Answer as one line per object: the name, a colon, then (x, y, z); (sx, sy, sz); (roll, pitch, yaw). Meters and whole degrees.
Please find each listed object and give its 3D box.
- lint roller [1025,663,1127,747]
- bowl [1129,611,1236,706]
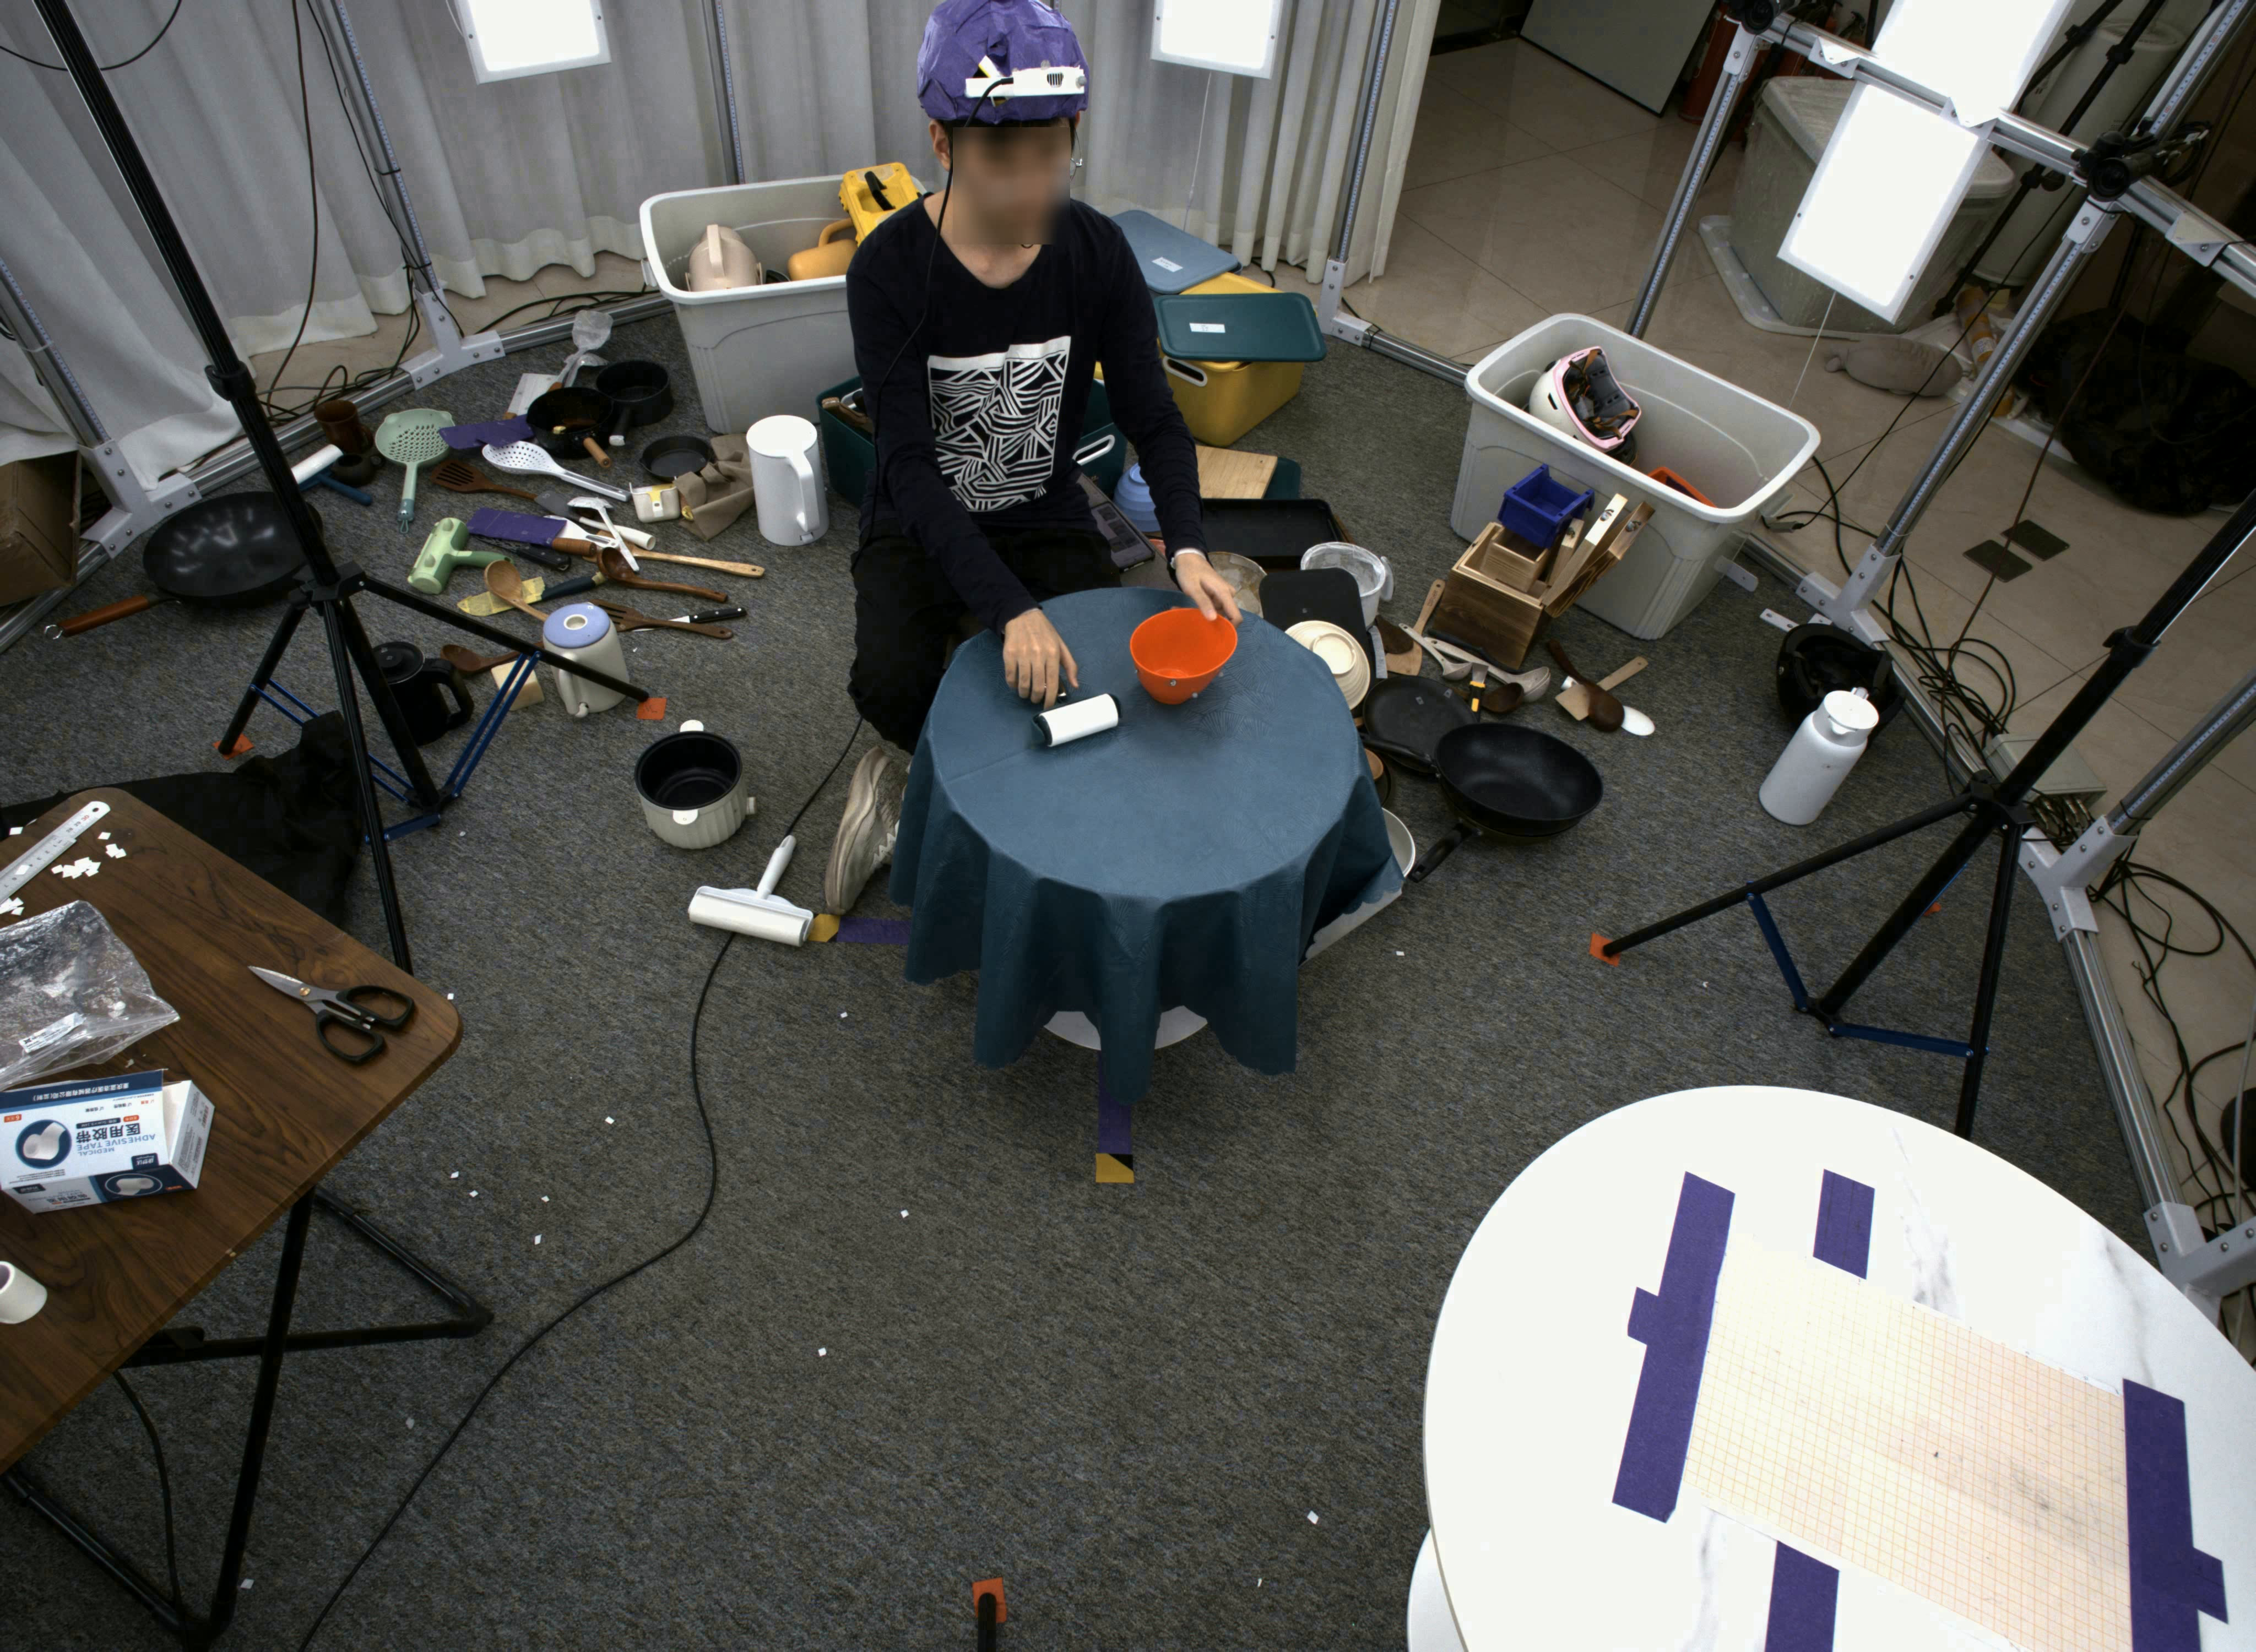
lint roller: (-0.099, -0.190, 1.800); (0.134, 0.047, 0.184); (-19, 50, -19)
bowl: (0.073, -0.227, 1.809); (0.148, 0.102, 0.152); (2, 47, -2)
